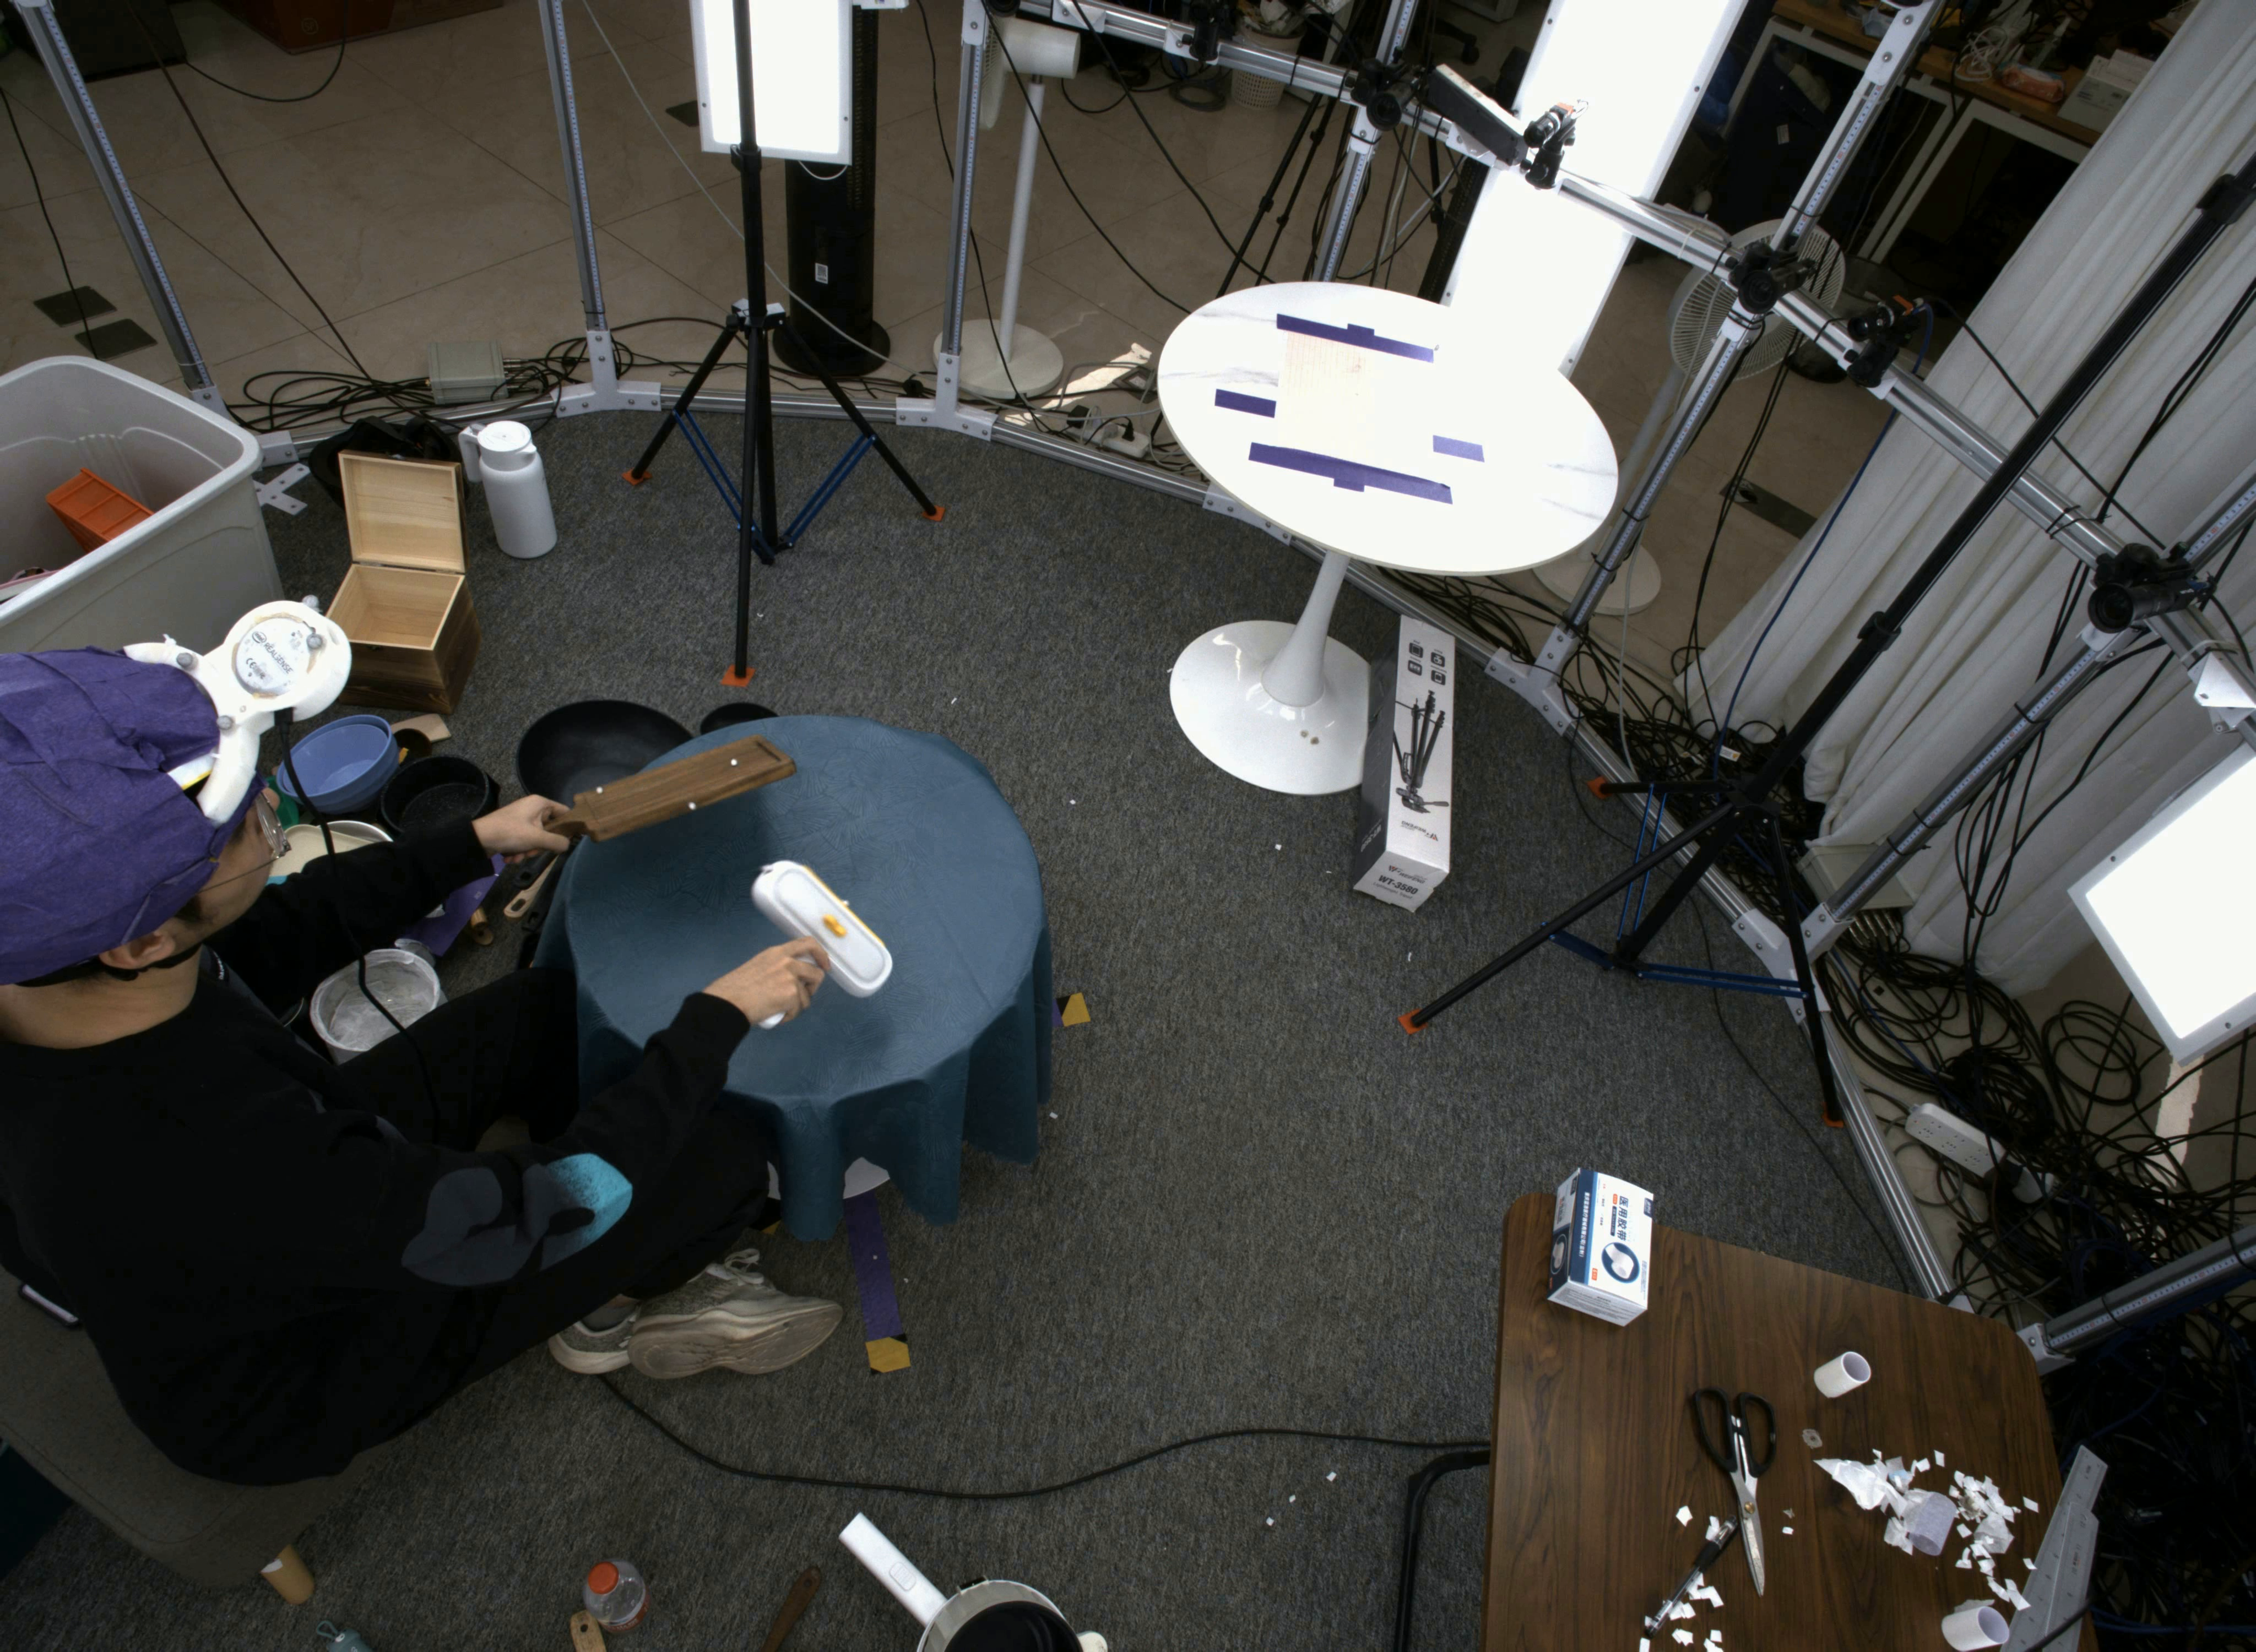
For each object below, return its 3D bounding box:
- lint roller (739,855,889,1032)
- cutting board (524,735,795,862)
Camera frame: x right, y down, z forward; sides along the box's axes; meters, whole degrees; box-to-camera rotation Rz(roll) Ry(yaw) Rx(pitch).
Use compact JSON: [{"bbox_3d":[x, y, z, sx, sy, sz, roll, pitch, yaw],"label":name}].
[{"bbox_3d":[-0.377,0.150,1.465,0.198,0.073,0.191,45,48,-23],"label":"lint roller"},{"bbox_3d":[-0.594,-0.035,1.570,0.353,0.024,0.194,-23,21,-23],"label":"cutting board"}]
